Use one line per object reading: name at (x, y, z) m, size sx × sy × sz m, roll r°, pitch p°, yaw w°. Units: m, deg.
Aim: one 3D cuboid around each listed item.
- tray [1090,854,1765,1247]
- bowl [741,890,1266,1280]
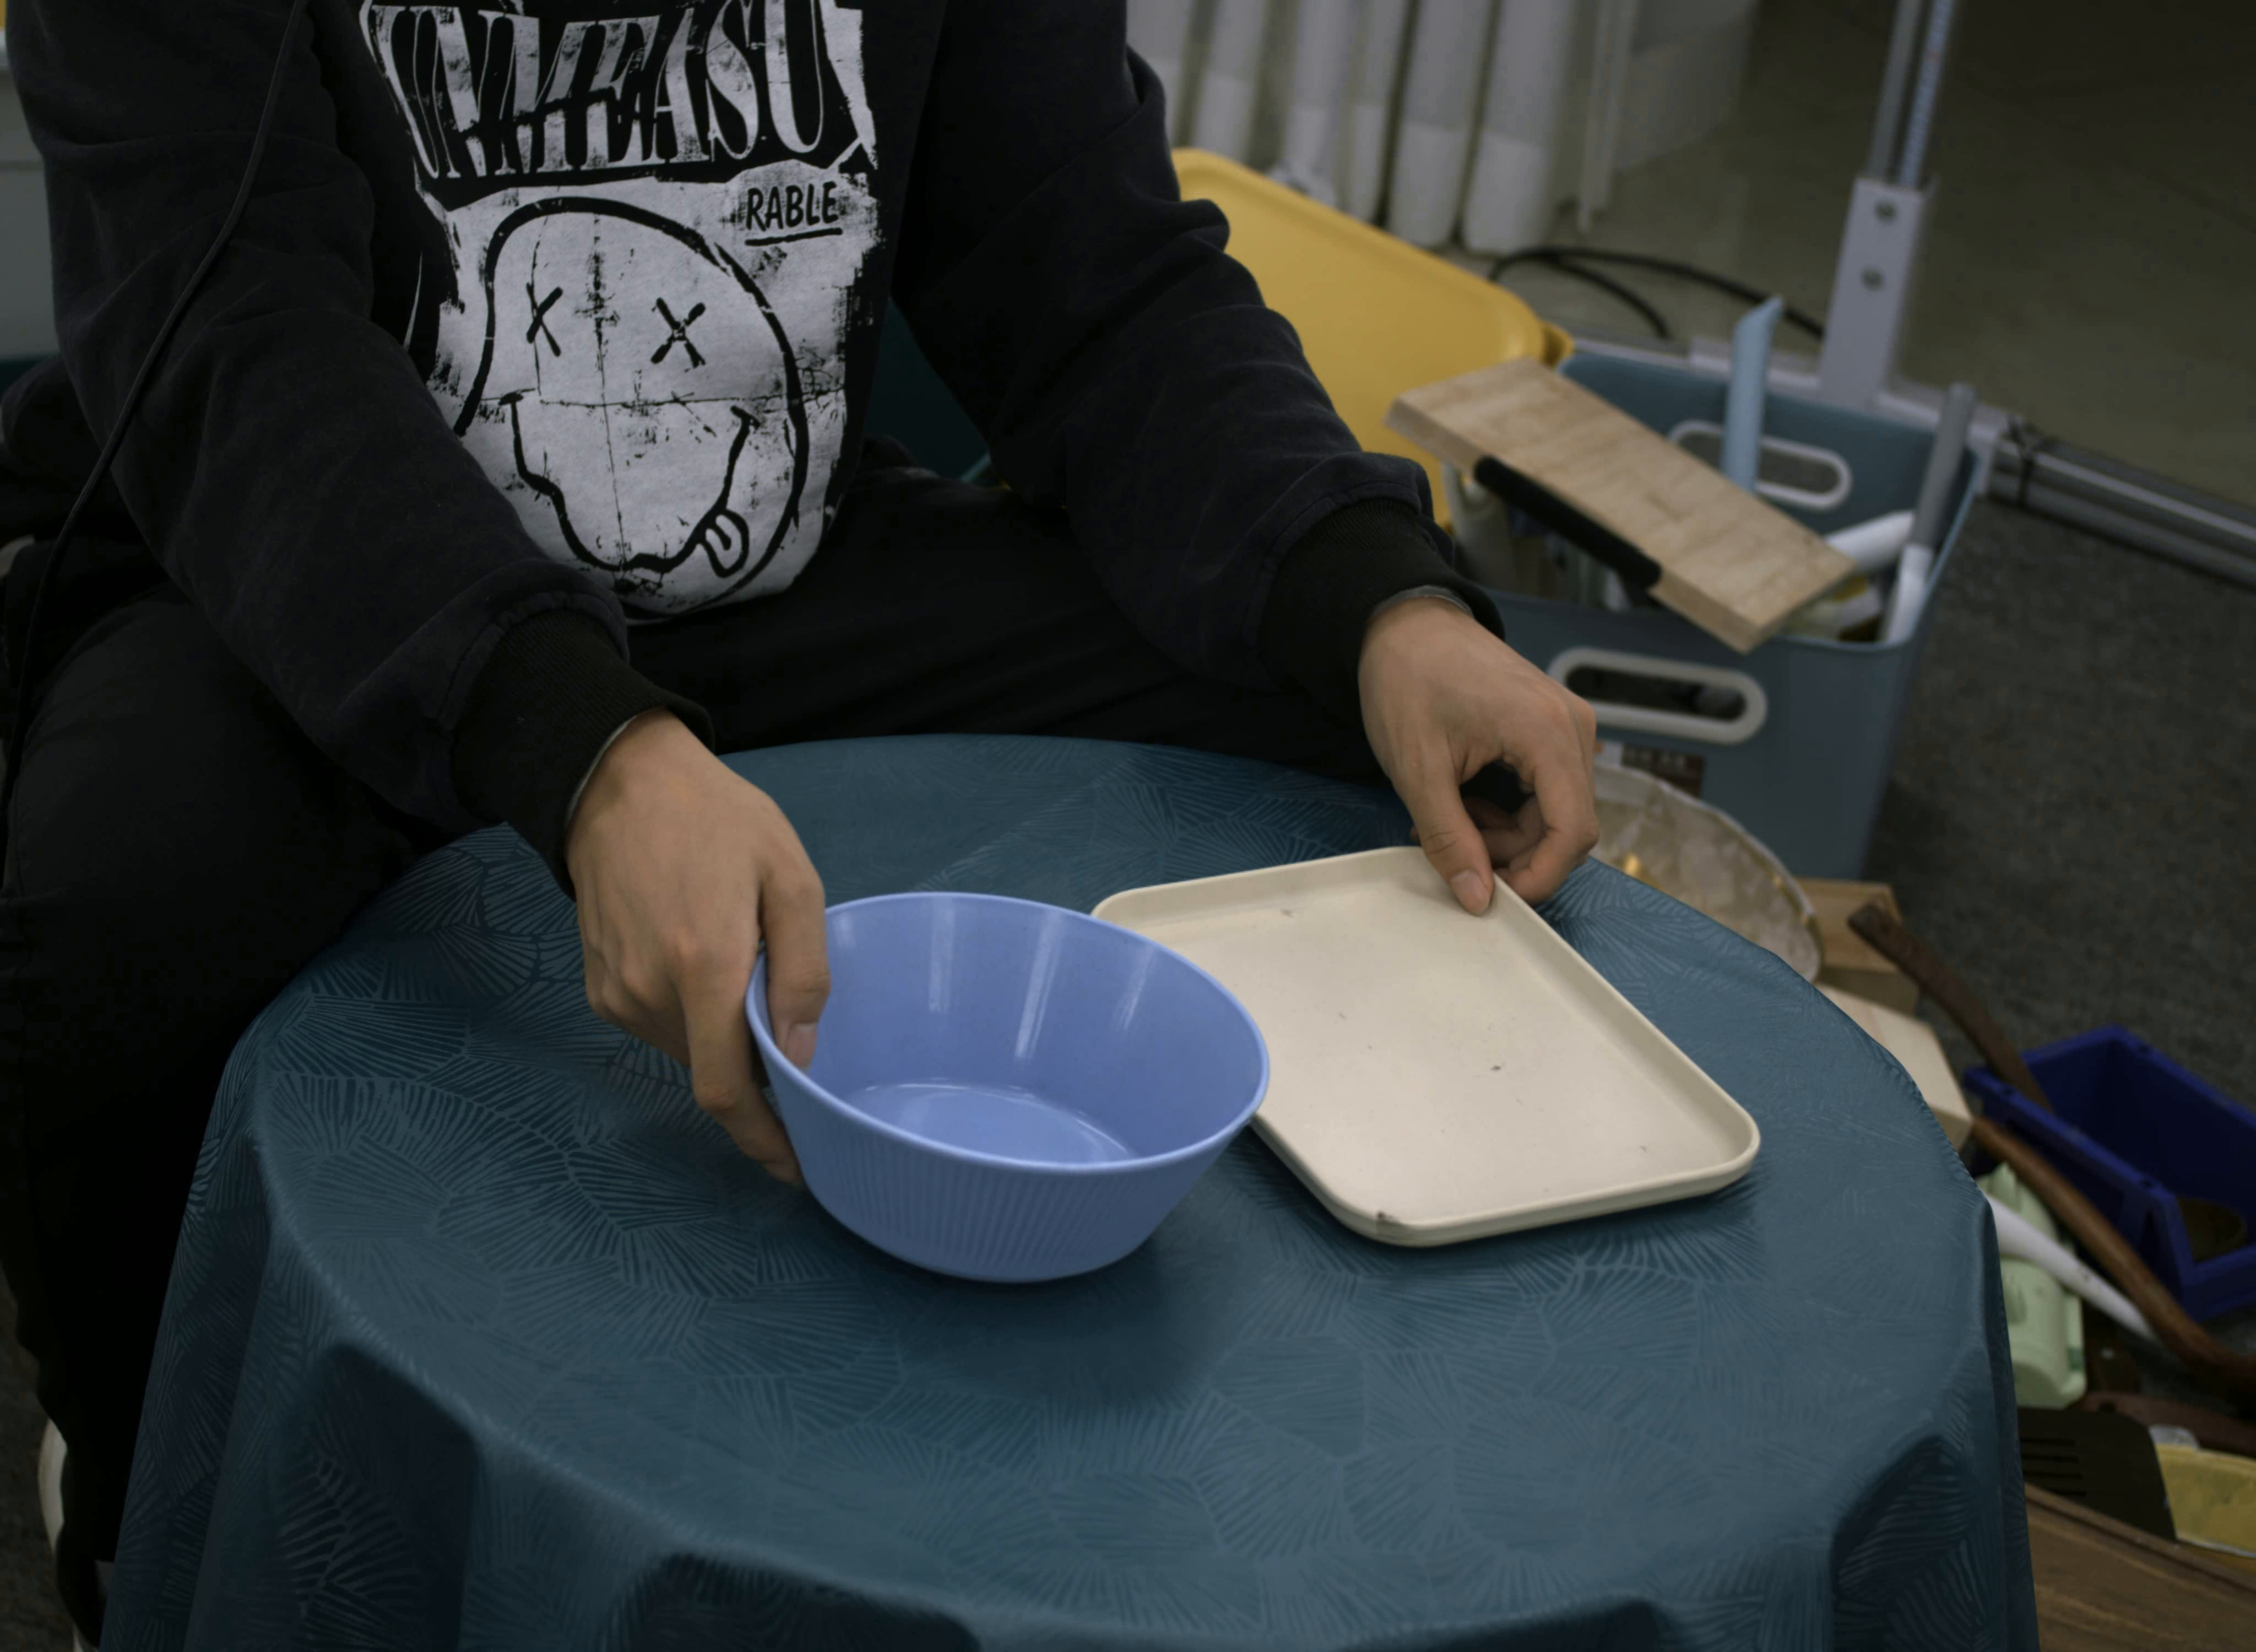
tray at (0.103, 0.078, 1.892) m, size 0.170 × 0.017 × 0.242 m, roll -7°, pitch 30°, yaw -26°
bowl at (-0.046, 0.092, 1.765) m, size 0.175 × 0.070 × 0.177 m, roll 9°, pitch 28°, yaw -5°
